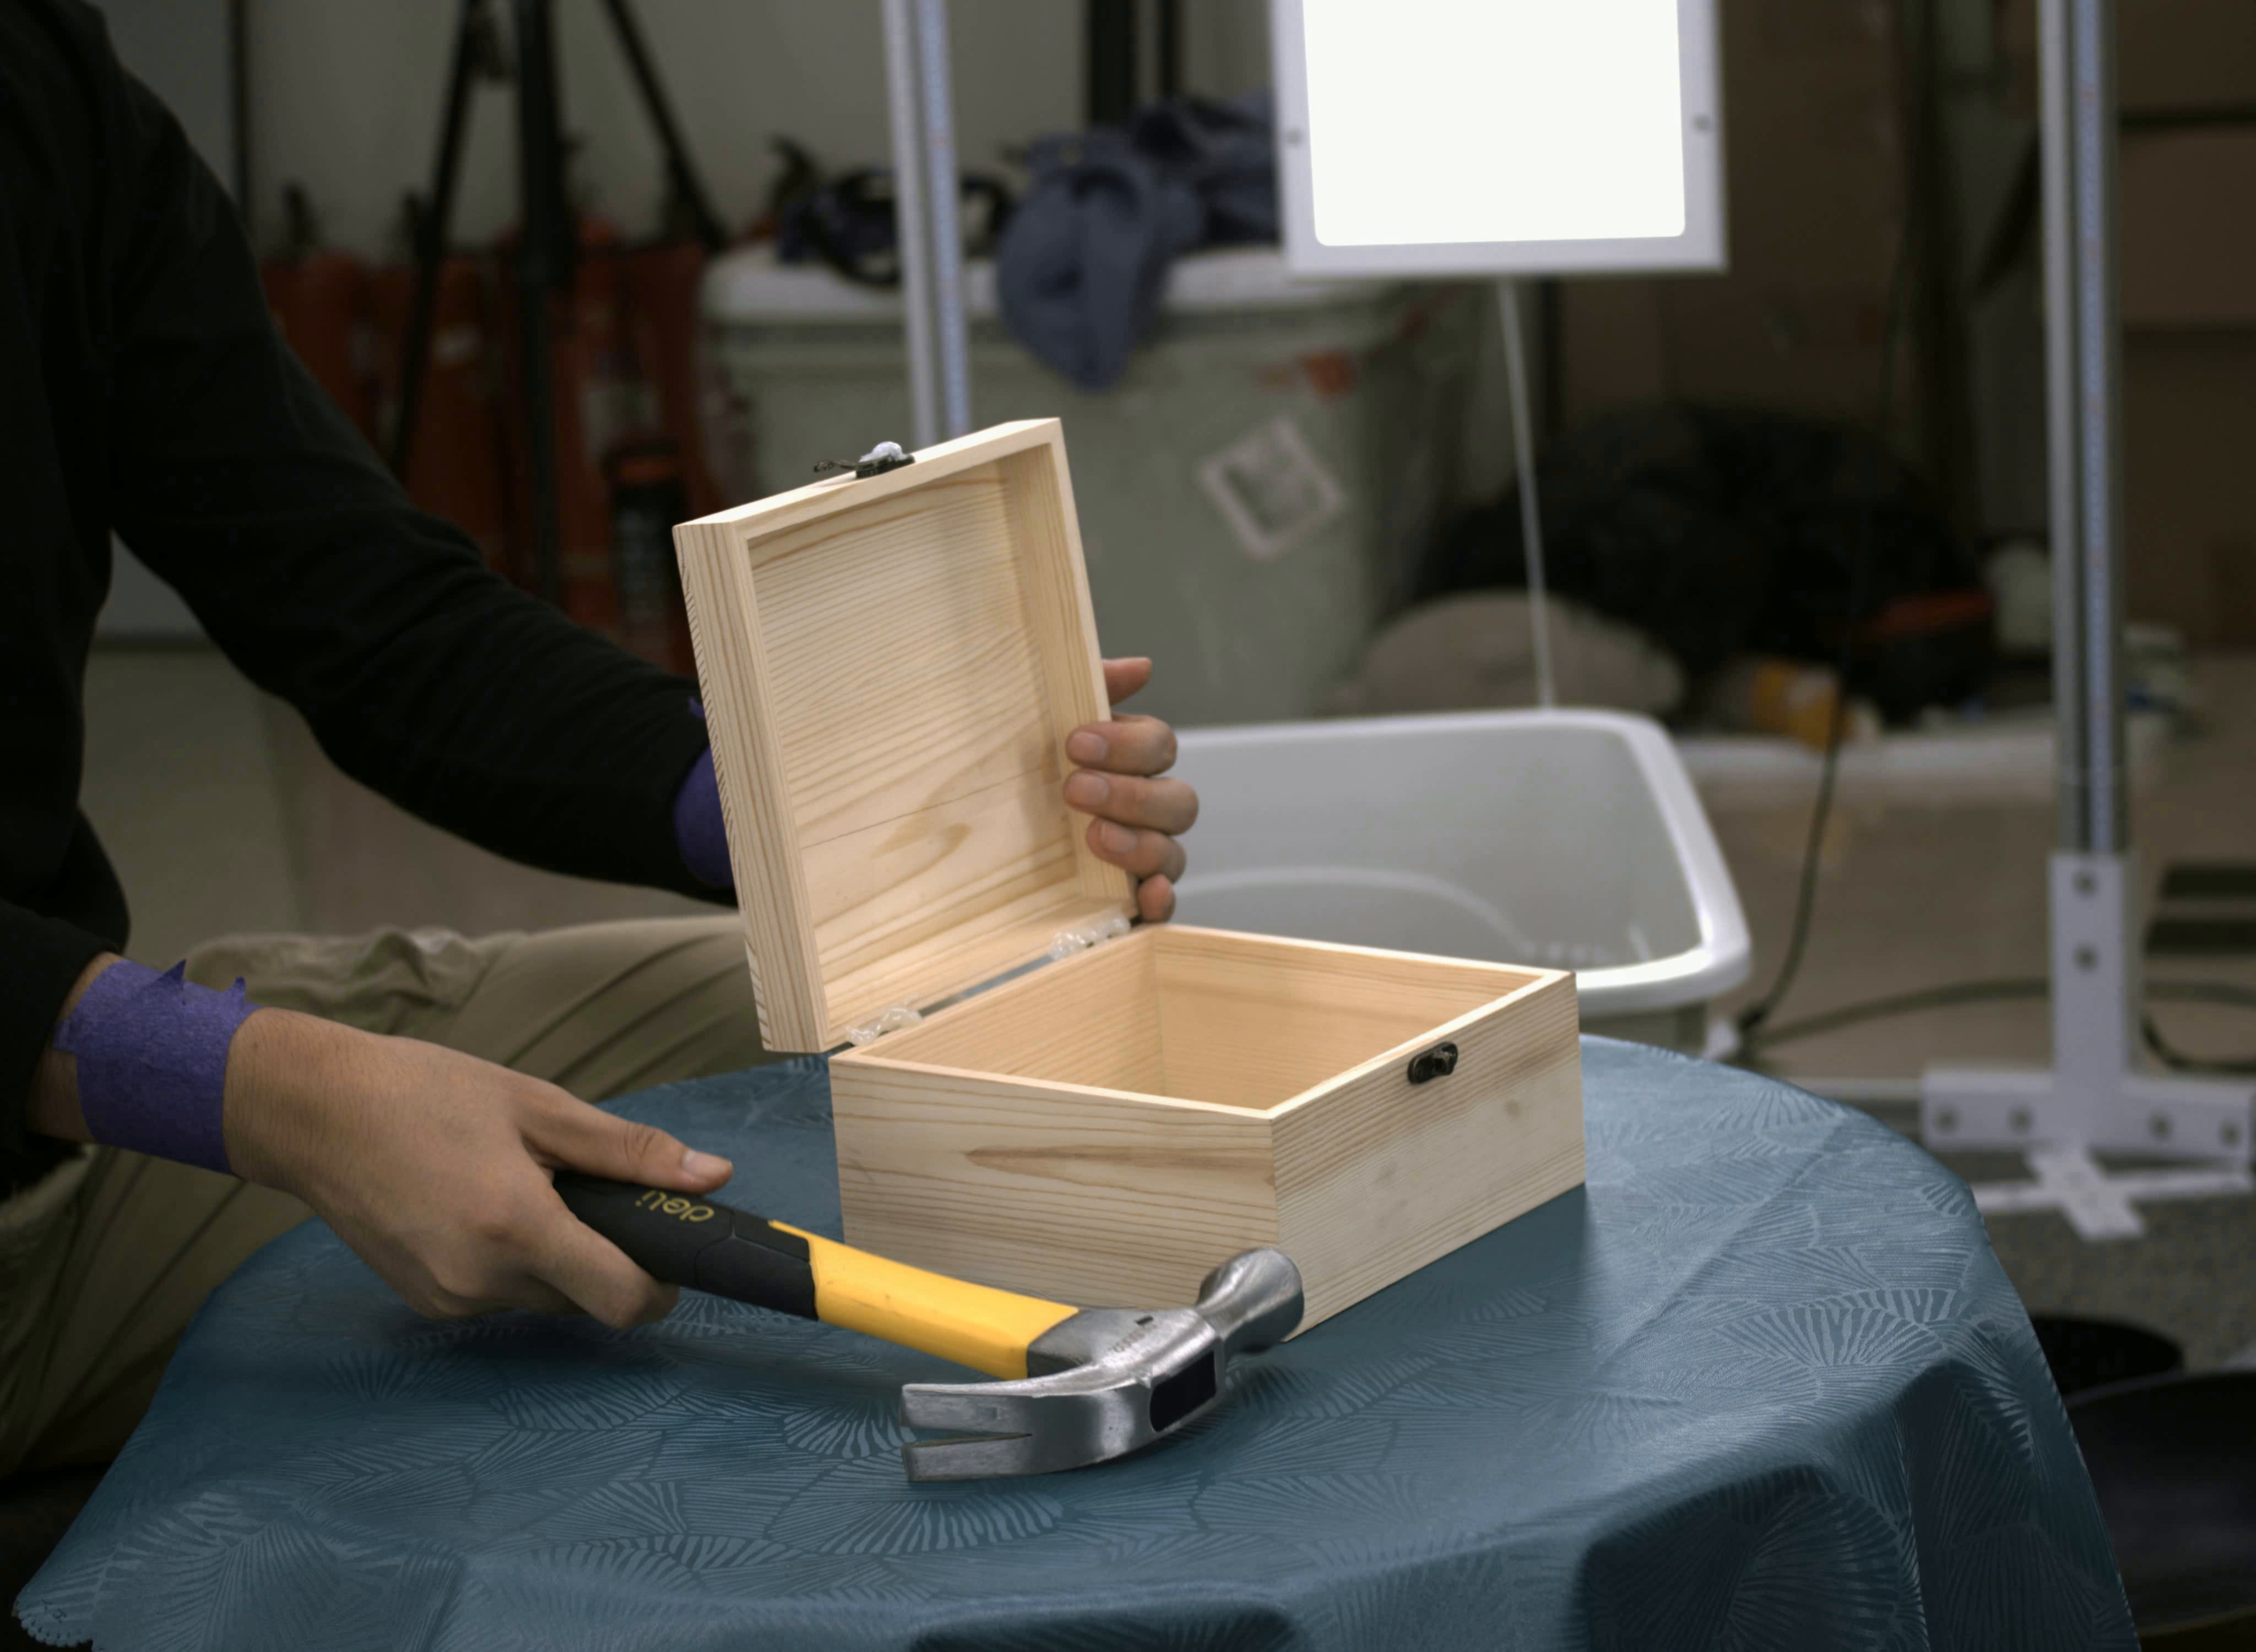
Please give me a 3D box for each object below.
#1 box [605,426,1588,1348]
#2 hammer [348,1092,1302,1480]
[{"bbox_3d":[-0.005,0.012,1.845,0.270,0.254,0.177,6,20,37],"label":"box"},{"bbox_3d":[-0.118,0.135,1.748,0.345,0.032,0.128,14,31,37],"label":"hammer"}]
